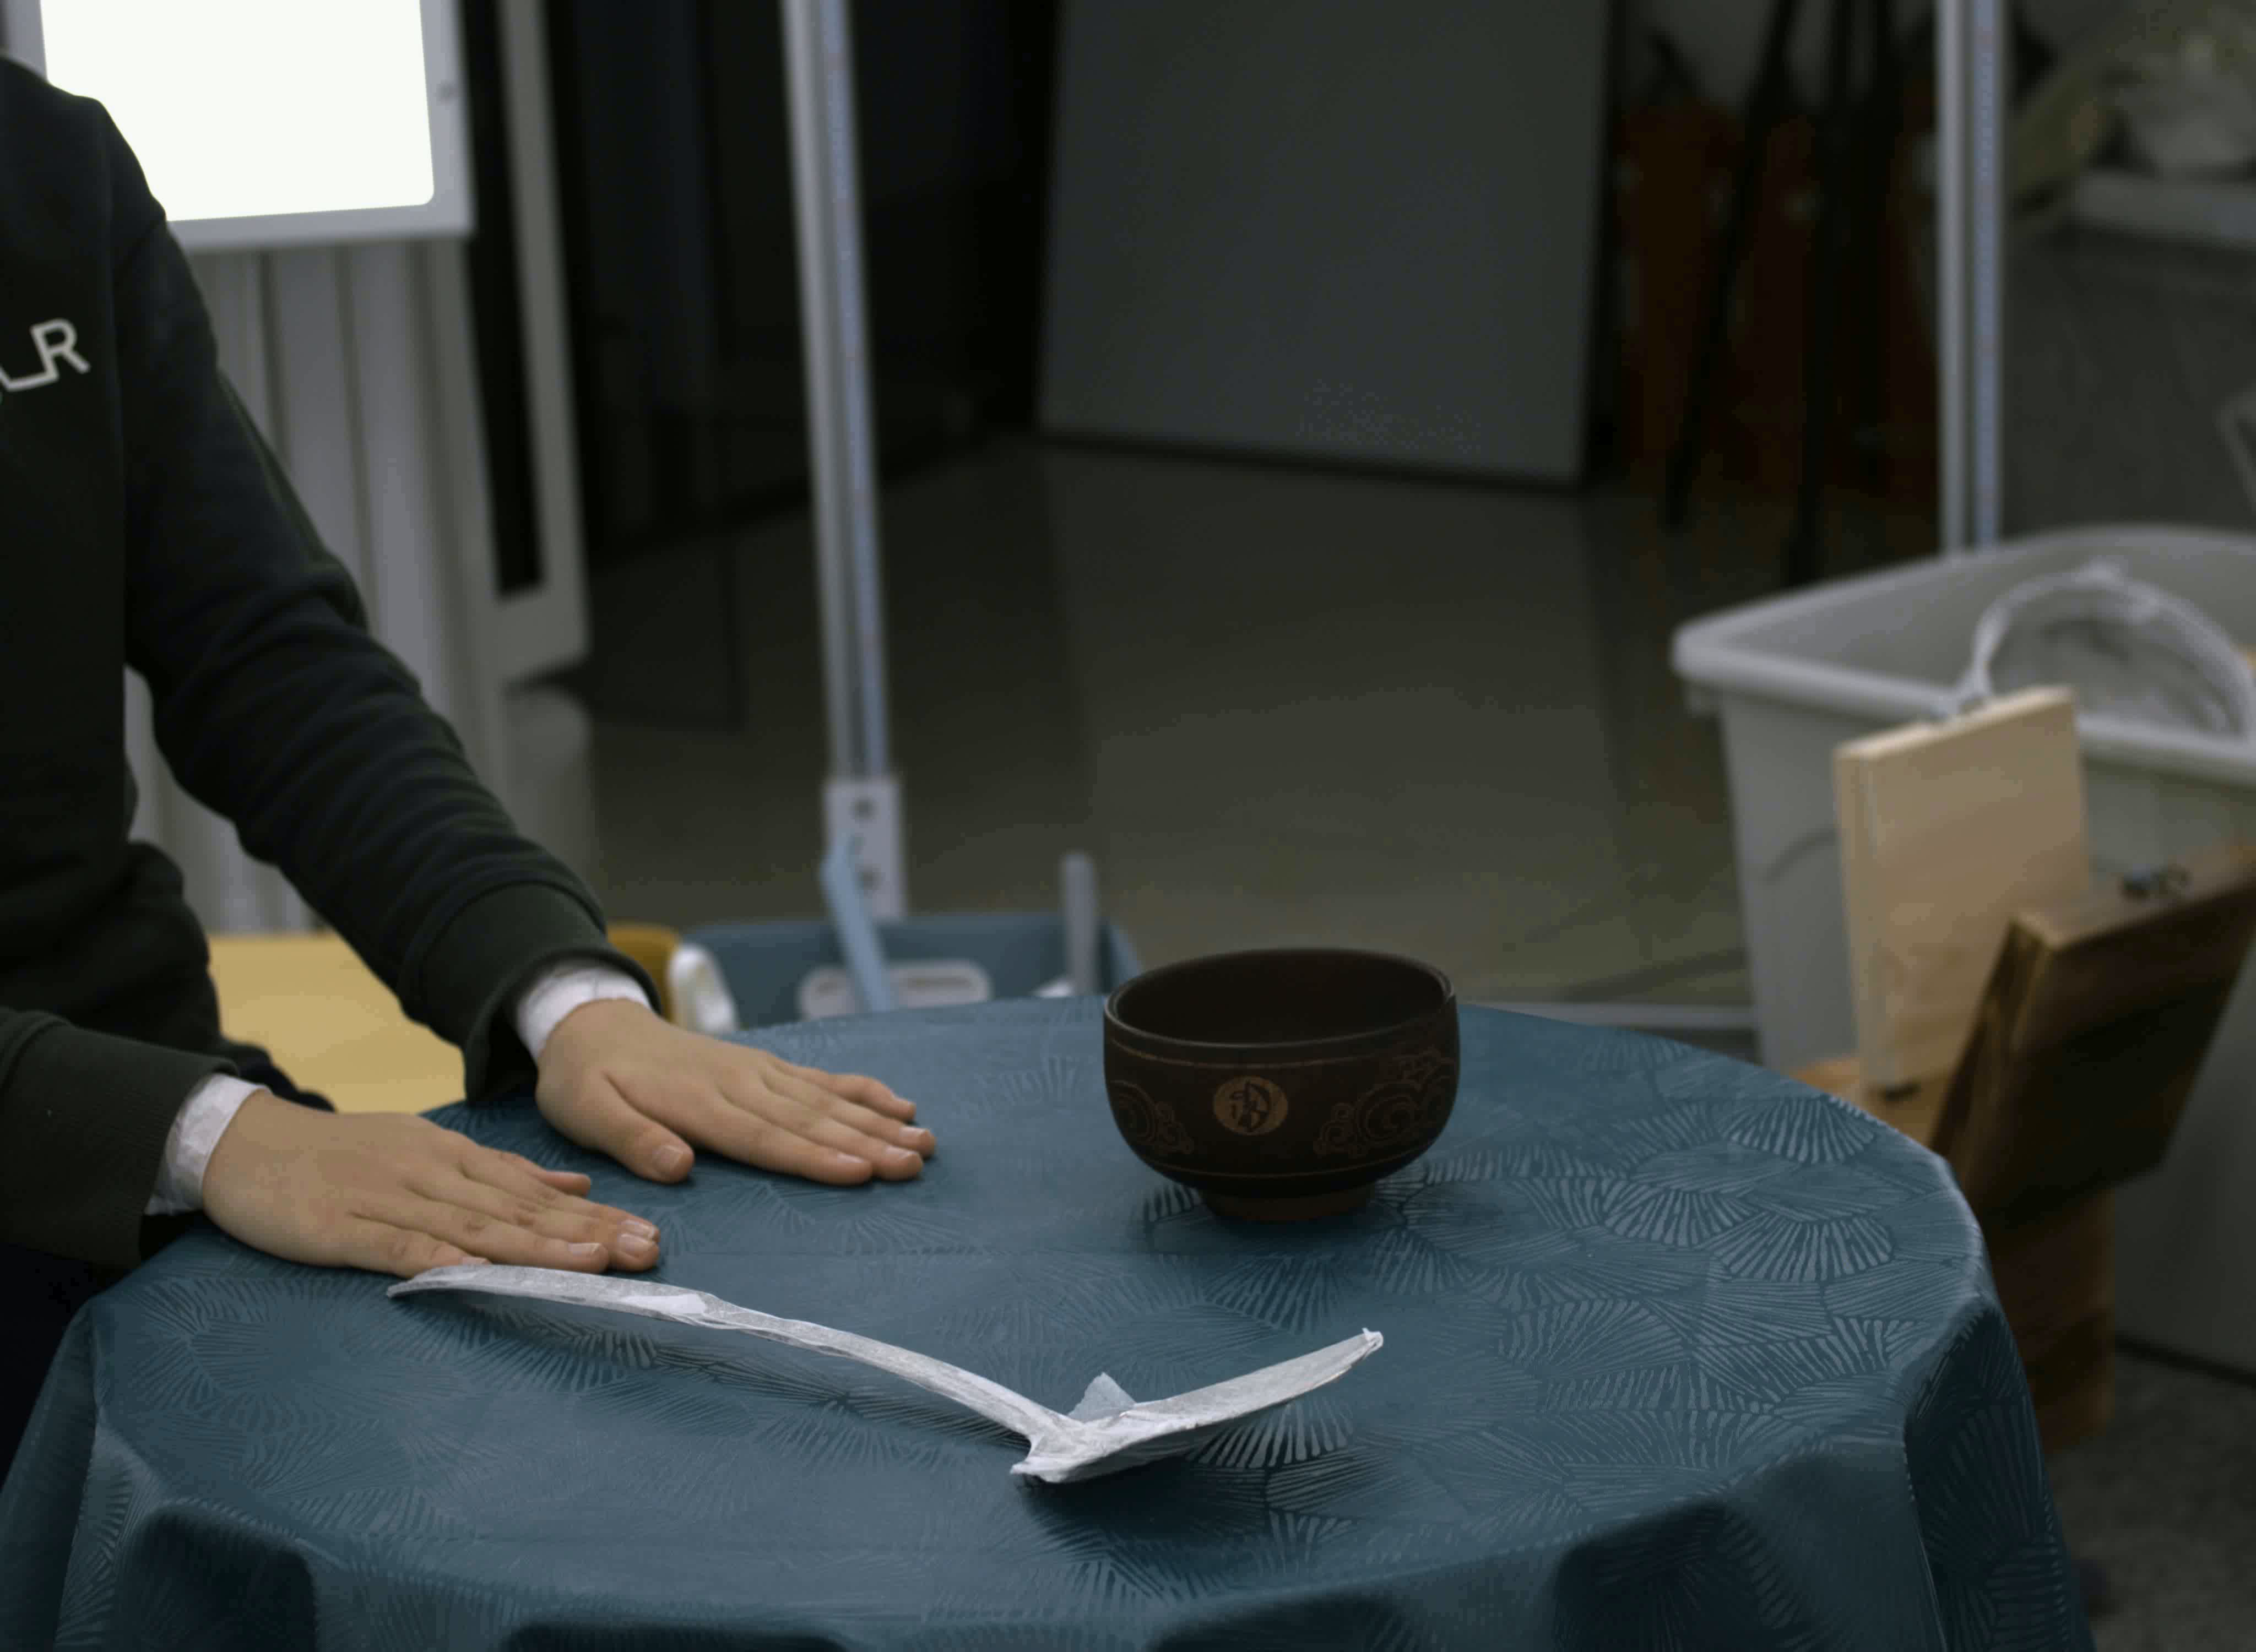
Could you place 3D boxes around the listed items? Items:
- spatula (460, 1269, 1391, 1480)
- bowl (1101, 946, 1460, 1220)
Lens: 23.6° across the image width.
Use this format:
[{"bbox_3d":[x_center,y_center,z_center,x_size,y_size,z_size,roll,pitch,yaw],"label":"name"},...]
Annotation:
[{"bbox_3d":[-0.081,0.150,1.597,0.368,0.045,0.097,8,20,41],"label":"spatula"},{"bbox_3d":[0.050,0.086,1.747,0.116,0.070,0.118,-4,12,0],"label":"bowl"}]
